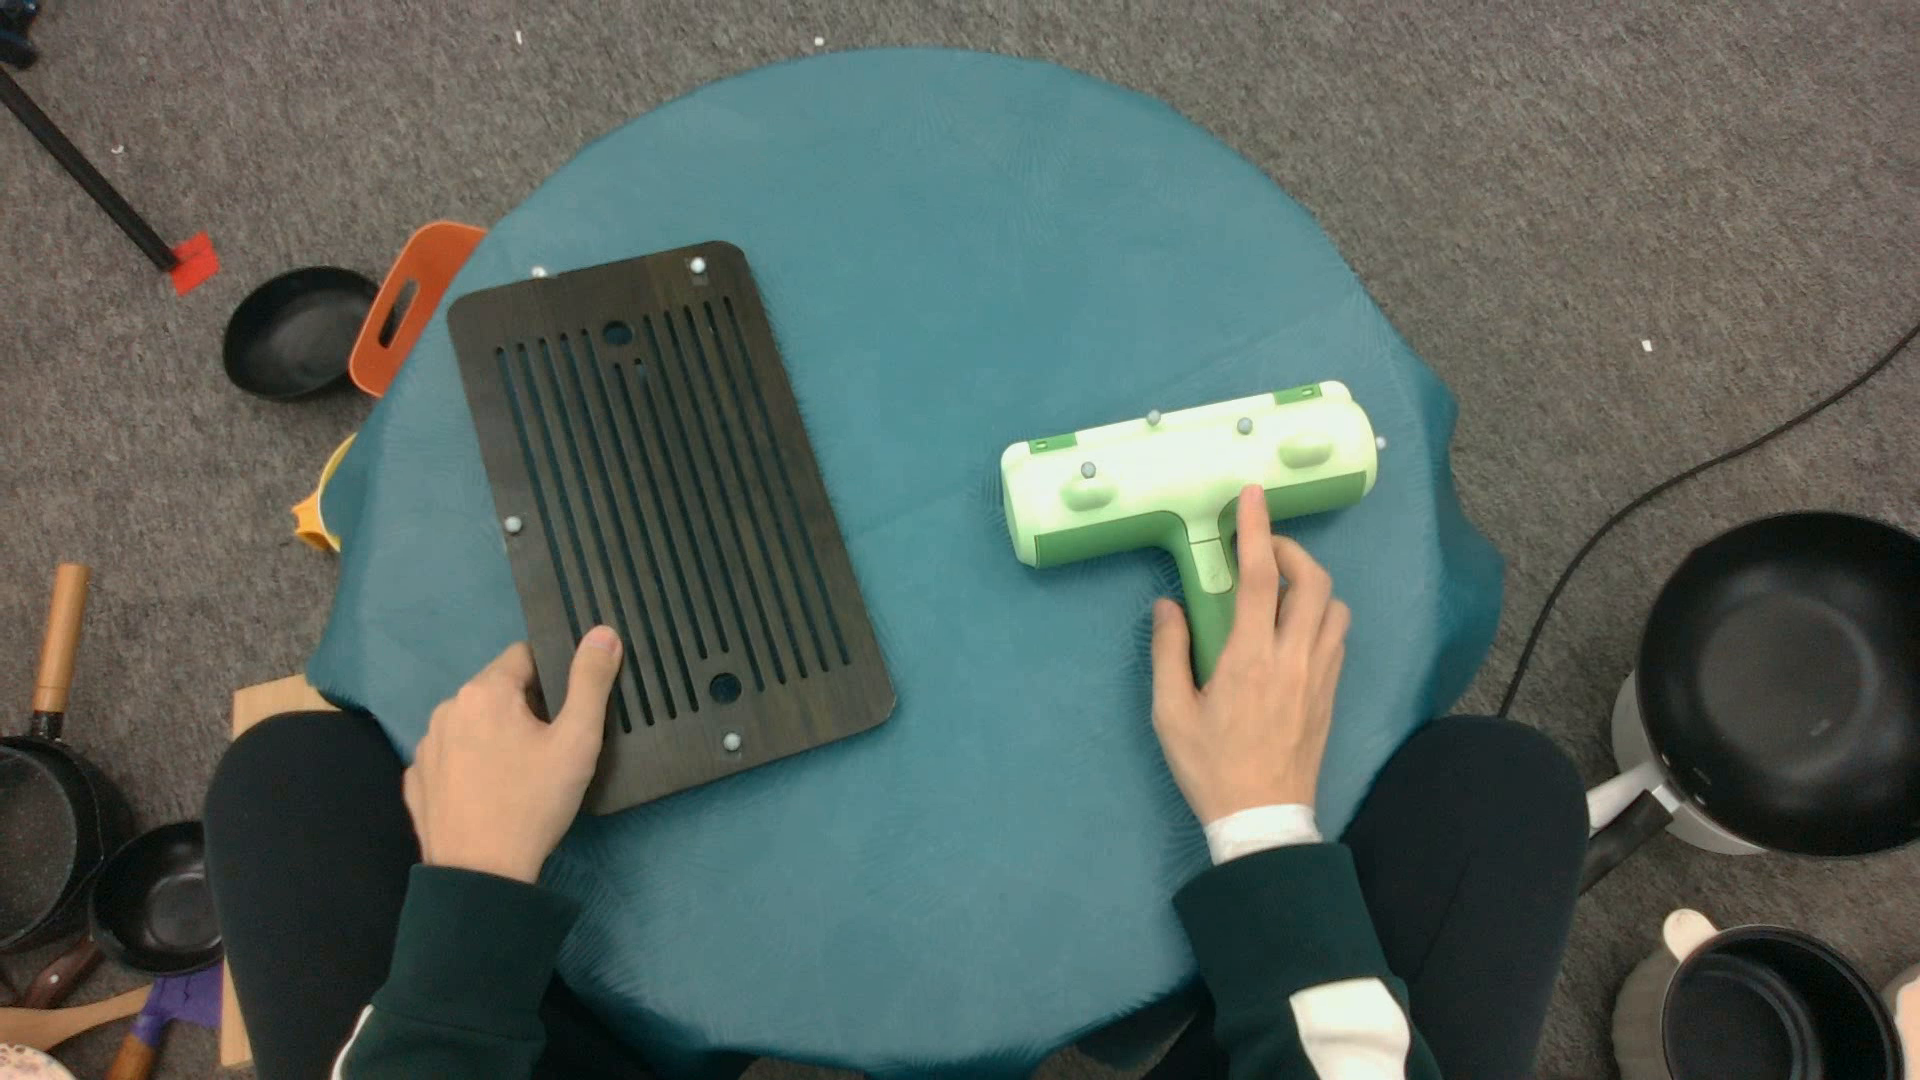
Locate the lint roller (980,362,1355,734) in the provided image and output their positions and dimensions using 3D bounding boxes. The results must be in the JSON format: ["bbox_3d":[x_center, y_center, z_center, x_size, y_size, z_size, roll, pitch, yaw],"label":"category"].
[{"bbox_3d":[0.124,0.005,0.715,0.199,0.082,0.184,-12,69,-4],"label":"lint roller"}]

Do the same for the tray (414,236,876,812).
[{"bbox_3d":[-0.173,-0.020,0.745,0.170,0.018,0.306,-18,72,-14],"label":"tray"}]
